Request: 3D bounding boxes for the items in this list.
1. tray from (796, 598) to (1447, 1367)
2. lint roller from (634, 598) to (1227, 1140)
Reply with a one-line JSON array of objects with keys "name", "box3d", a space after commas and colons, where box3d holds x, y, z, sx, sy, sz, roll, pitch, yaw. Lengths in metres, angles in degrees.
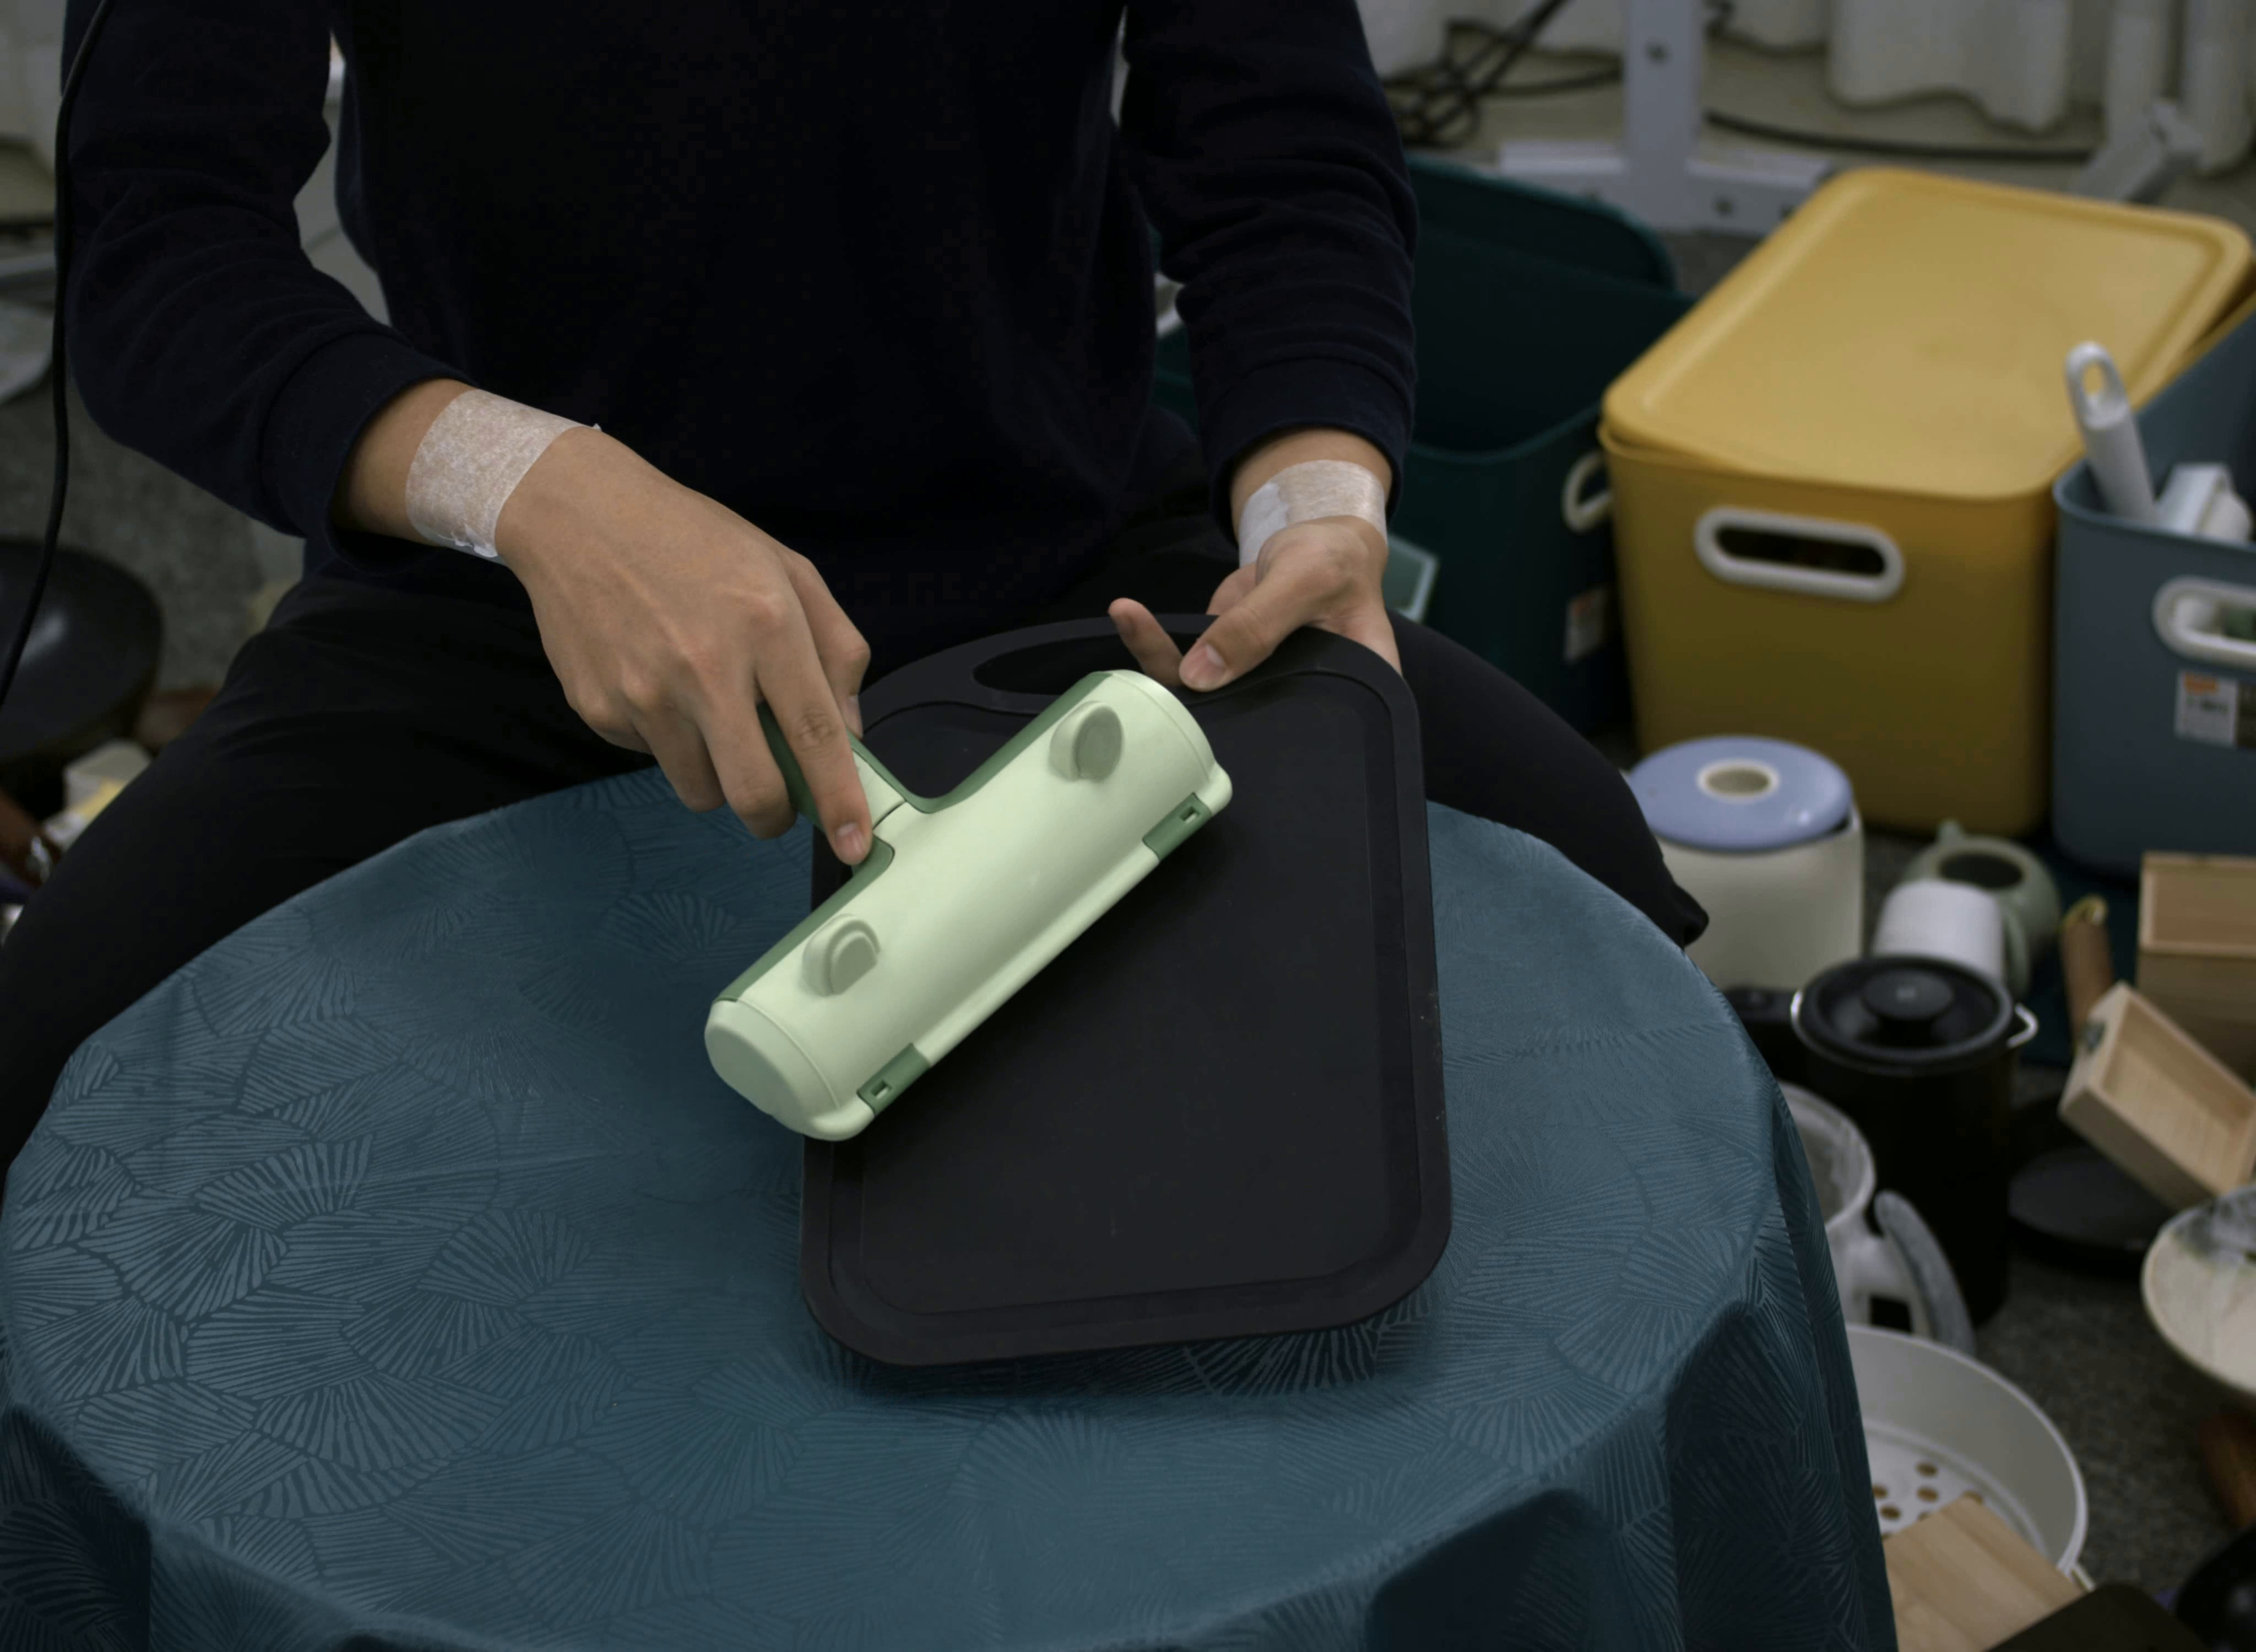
[{"name": "tray", "box3d": [-0.003, 0.042, 1.857, 0.210, 0.009, 0.332, -5, 47, 5]}, {"name": "lint roller", "box3d": [-0.091, -0.019, 1.849, 0.183, 0.081, 0.201, 45, 63, 6]}]
